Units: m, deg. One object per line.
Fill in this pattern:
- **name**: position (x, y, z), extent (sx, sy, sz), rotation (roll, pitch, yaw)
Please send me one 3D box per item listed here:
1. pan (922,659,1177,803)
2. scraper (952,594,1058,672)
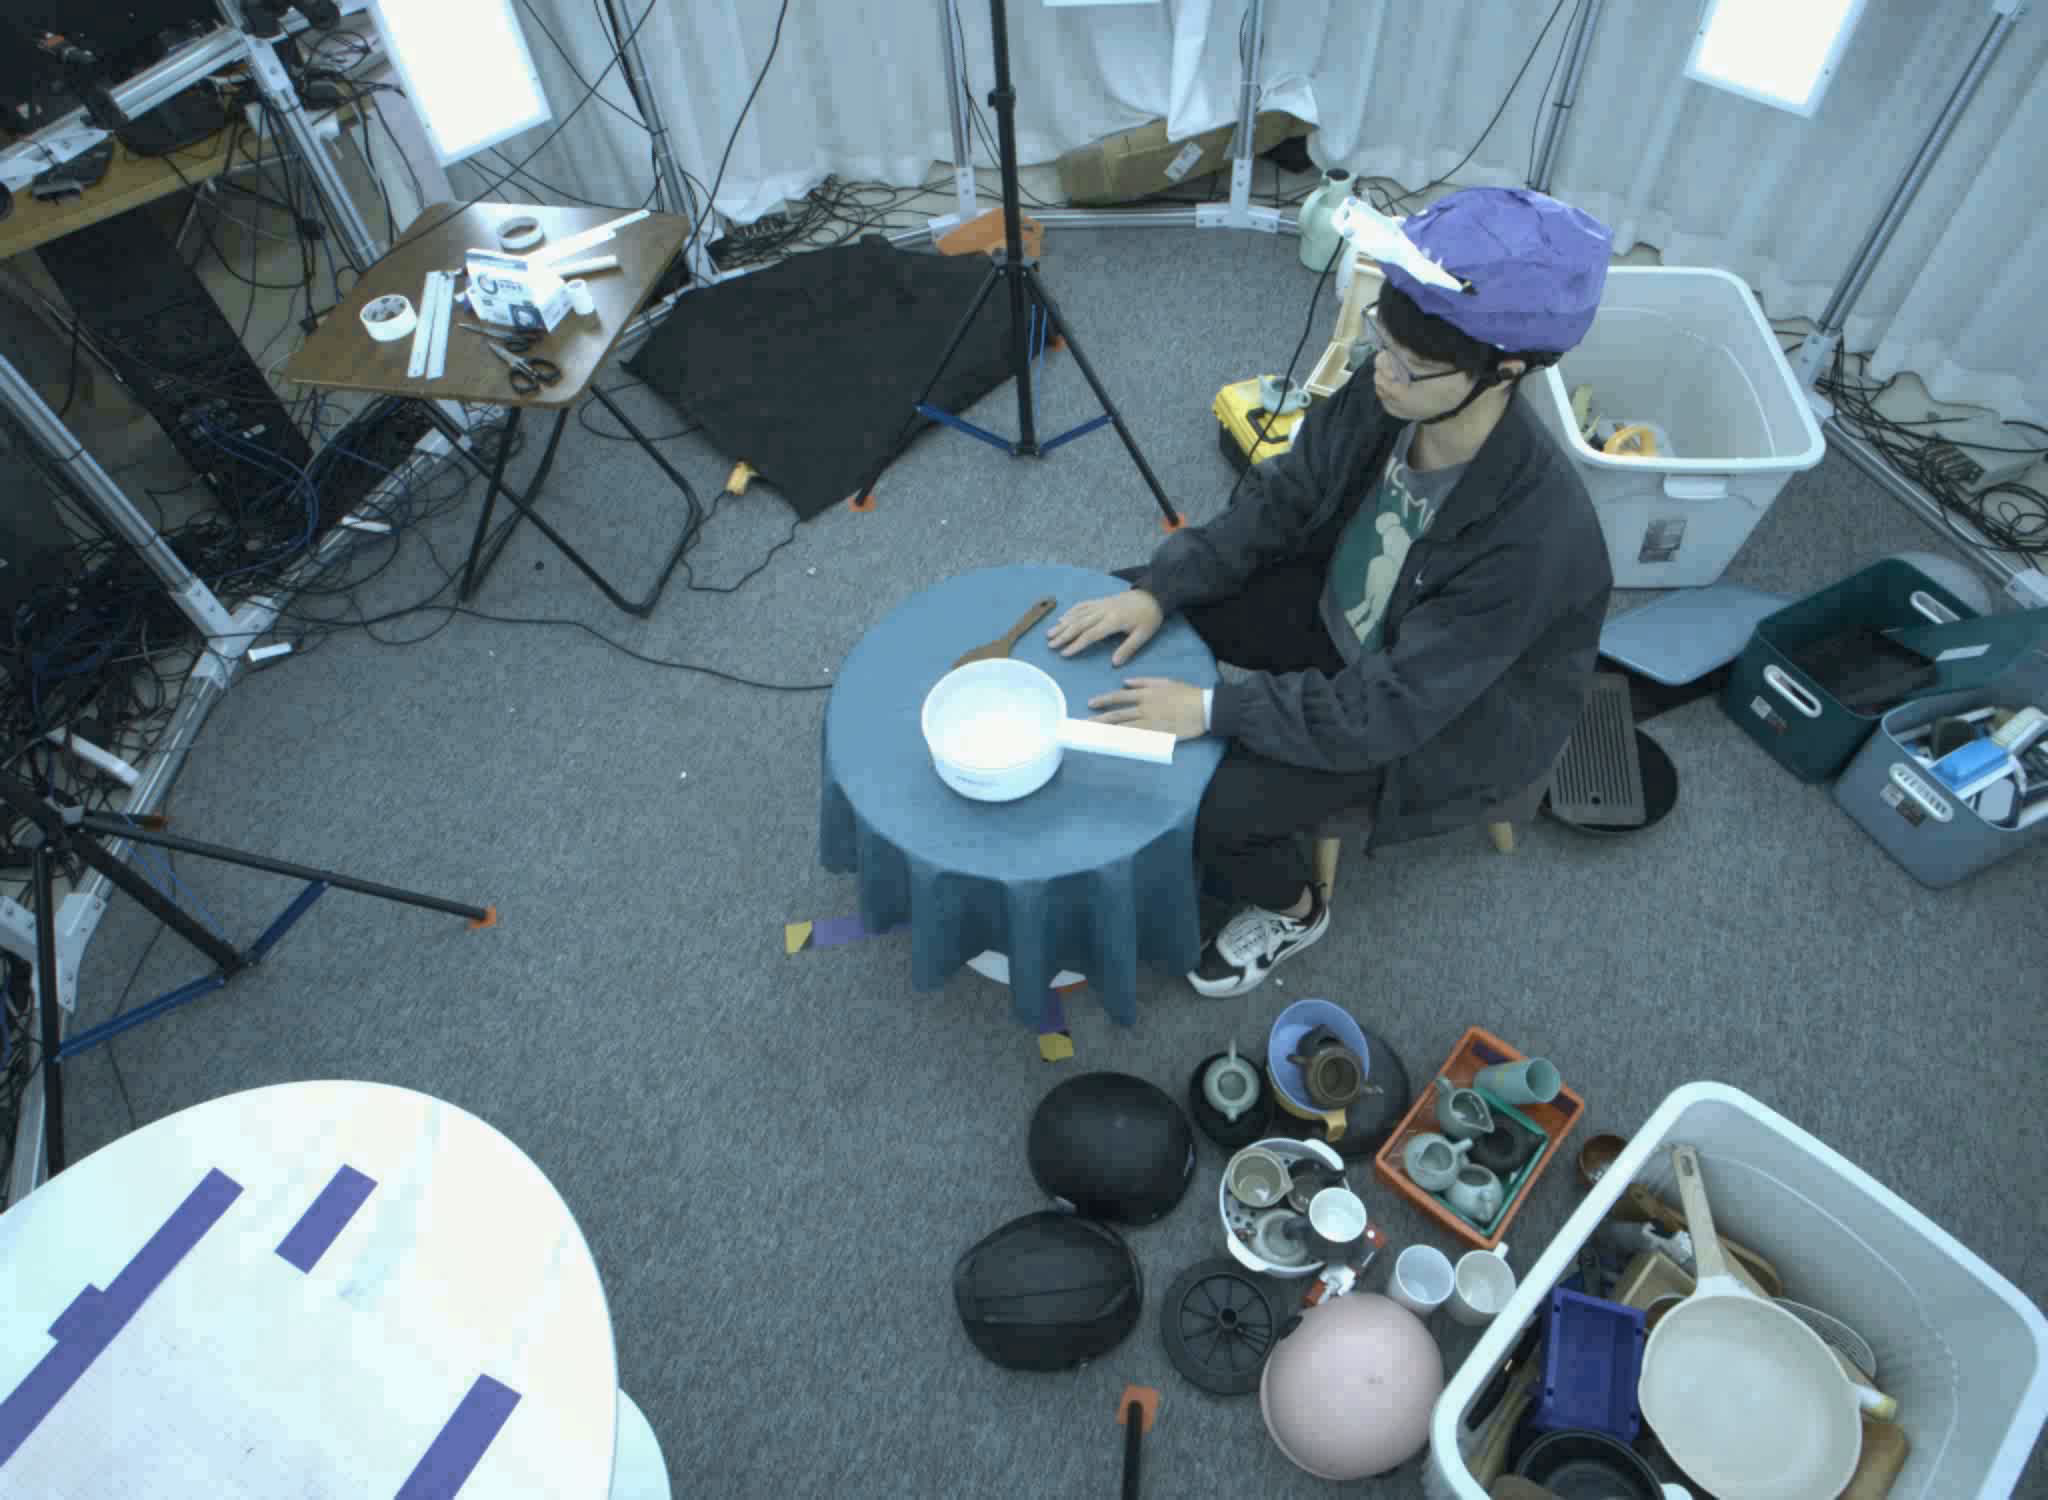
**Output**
- **pan**: position (0.035, -0.008, 1.725), extent (0.353, 0.103, 0.200), rotation (11, 55, 8)
- **scraper**: position (-0.020, -0.176, 1.900), extent (0.074, 0.011, 0.212), rotation (33, 61, 22)
